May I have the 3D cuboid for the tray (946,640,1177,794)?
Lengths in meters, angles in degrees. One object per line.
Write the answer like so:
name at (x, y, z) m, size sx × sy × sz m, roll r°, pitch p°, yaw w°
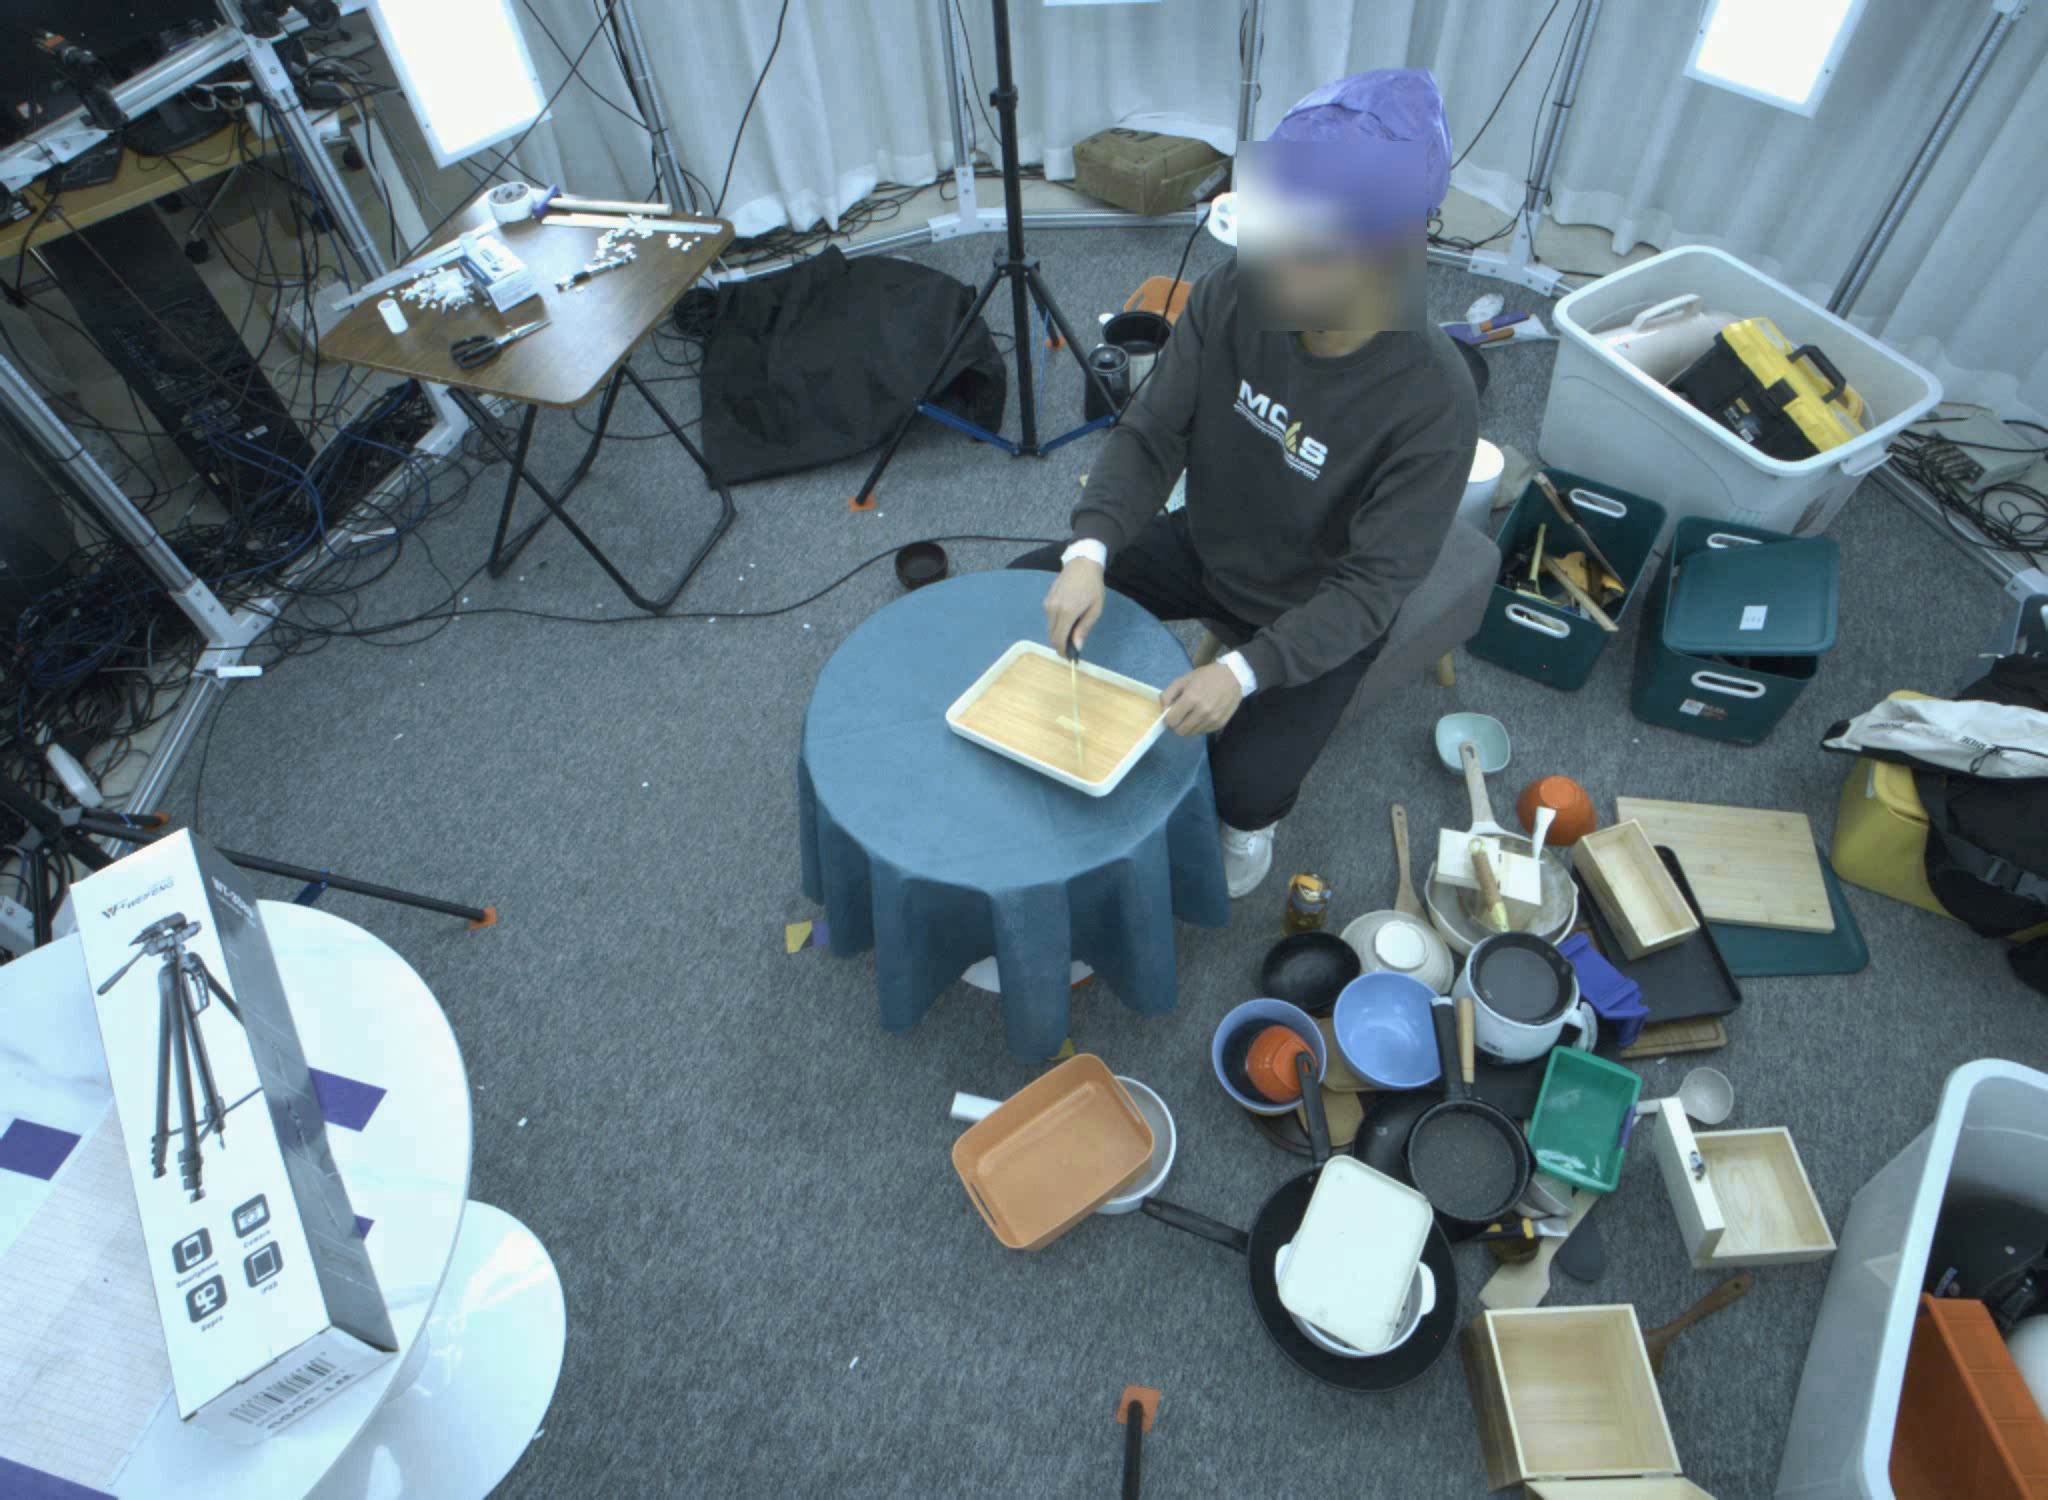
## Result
tray at (0.051, -0.054, 1.774) m, size 0.294 × 0.028 × 0.192 m, roll 25°, pitch 58°, yaw 33°

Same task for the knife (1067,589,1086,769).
knife at (0.077, -0.102, 1.741) m, size 0.027 × 0.082 × 0.287 m, roll -3°, pitch 62°, yaw 5°
